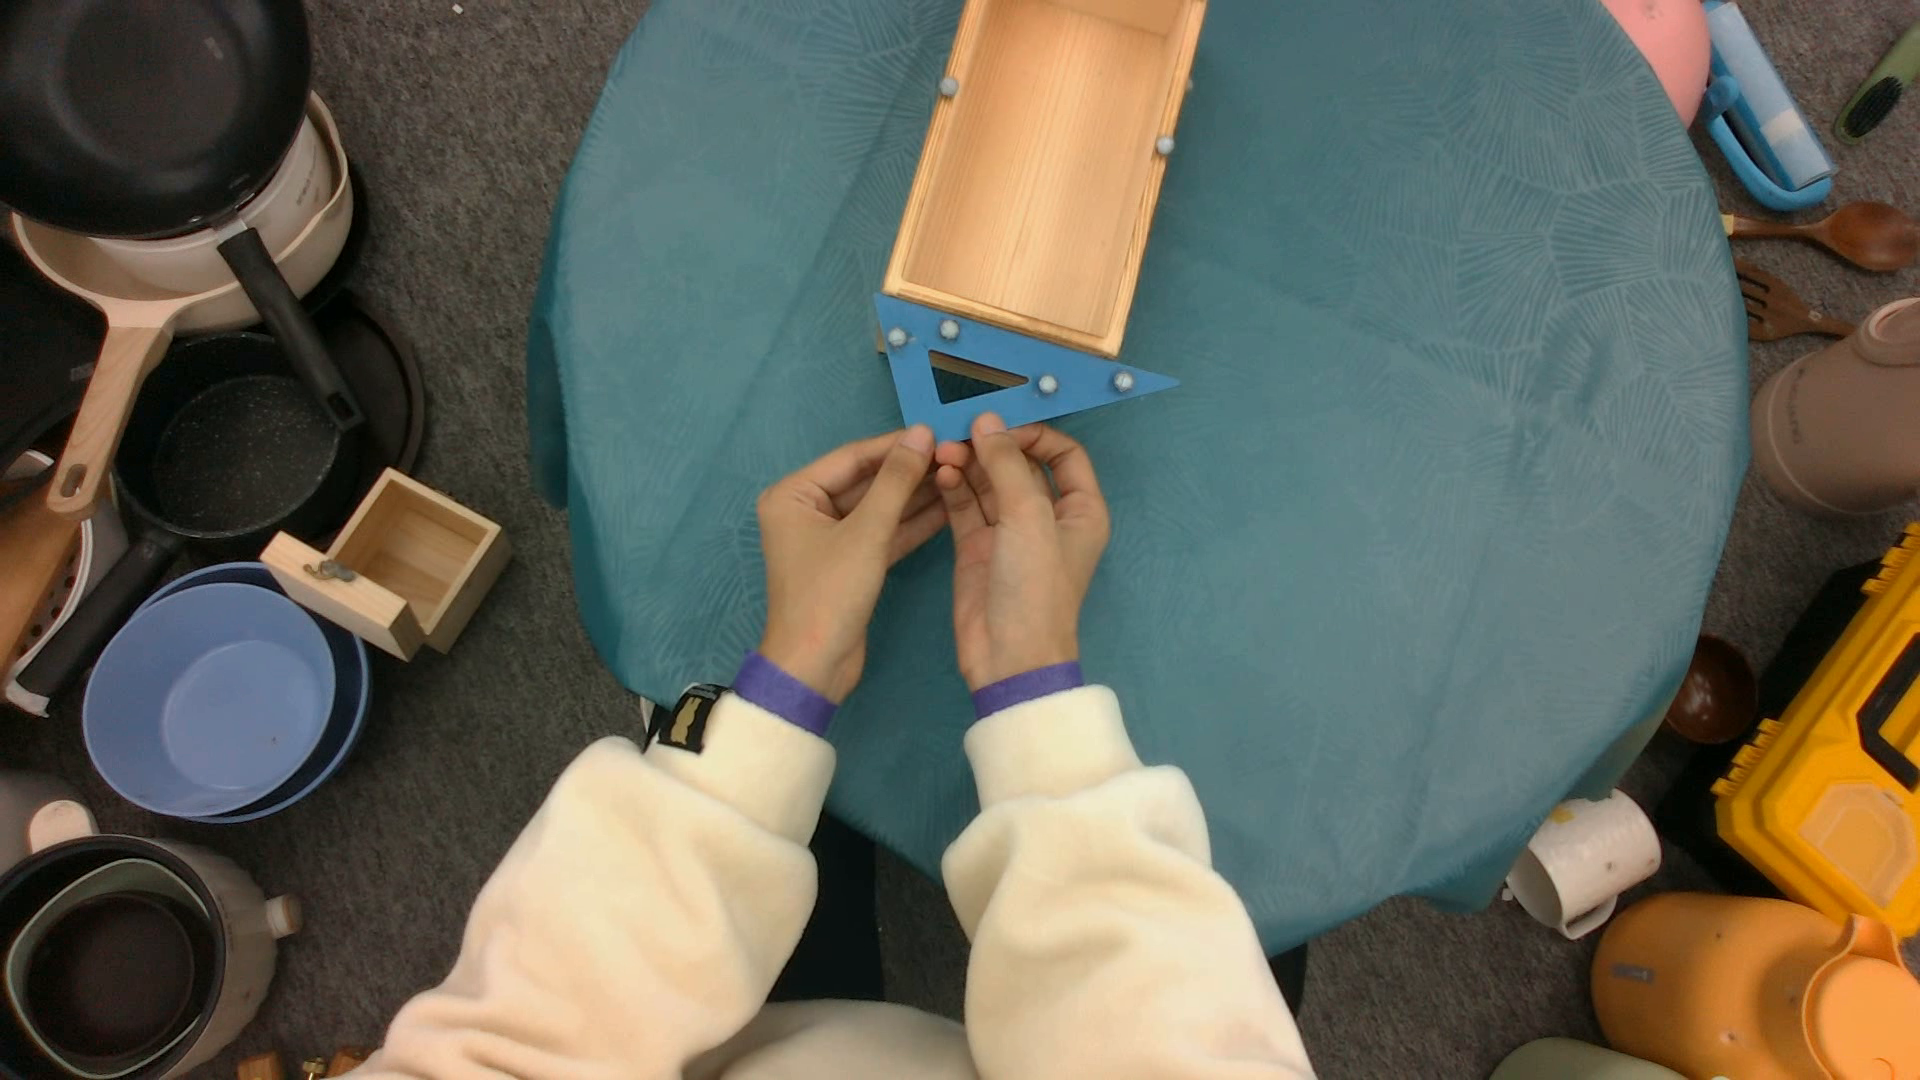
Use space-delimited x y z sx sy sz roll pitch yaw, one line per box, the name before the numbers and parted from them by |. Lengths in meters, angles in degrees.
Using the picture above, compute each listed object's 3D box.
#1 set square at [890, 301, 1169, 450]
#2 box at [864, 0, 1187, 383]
set square | 0.023 -0.055 0.592 0.132 0.006 0.061 20 88 -4
box | 0.033 -0.187 0.650 0.107 0.080 0.212 15 76 -2
